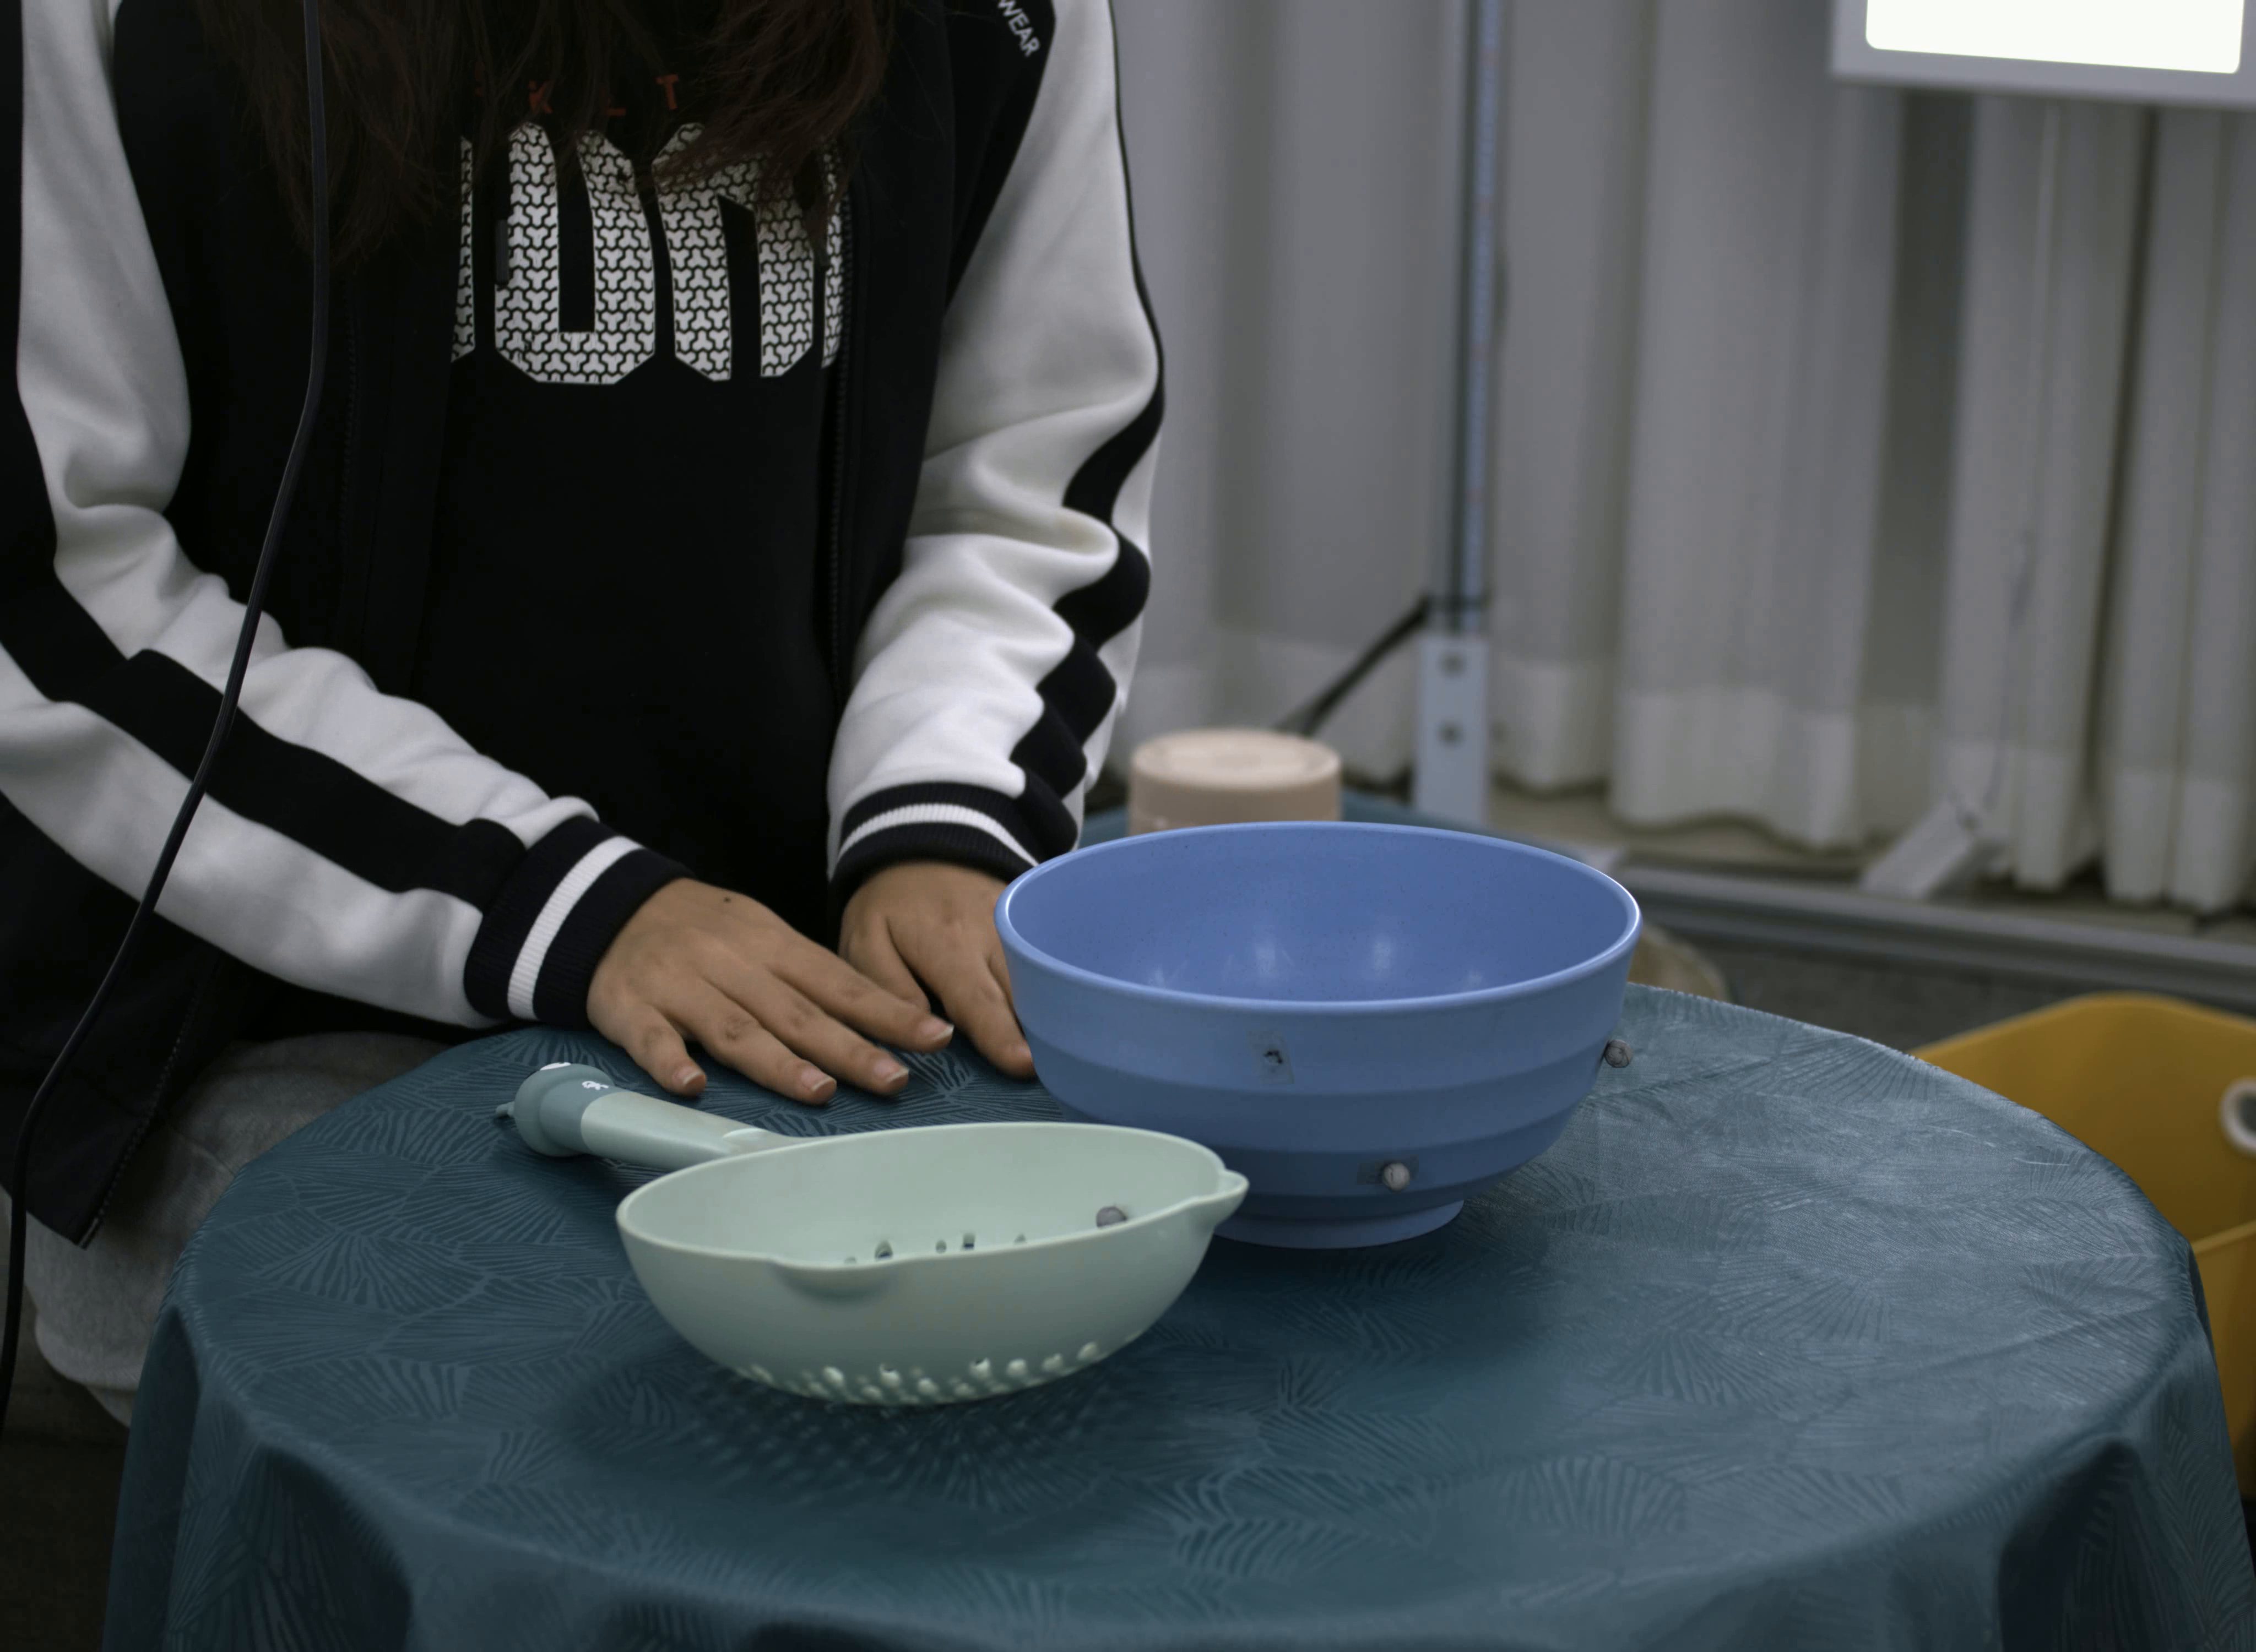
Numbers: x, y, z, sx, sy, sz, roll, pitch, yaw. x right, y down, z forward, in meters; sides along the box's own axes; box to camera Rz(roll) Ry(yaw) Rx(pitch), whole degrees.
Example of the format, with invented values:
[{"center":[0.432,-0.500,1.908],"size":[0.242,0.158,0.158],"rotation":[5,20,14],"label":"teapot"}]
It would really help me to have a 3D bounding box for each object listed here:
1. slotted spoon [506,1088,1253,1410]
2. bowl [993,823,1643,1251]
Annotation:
[{"center":[-0.105,0.106,1.533],"size":[0.170,0.076,0.354],"rotation":[-8,16,-30],"label":"slotted spoon"},{"center":[0.057,0.069,1.601],"size":[0.196,0.096,0.195],"rotation":[0,16,1],"label":"bowl"}]
